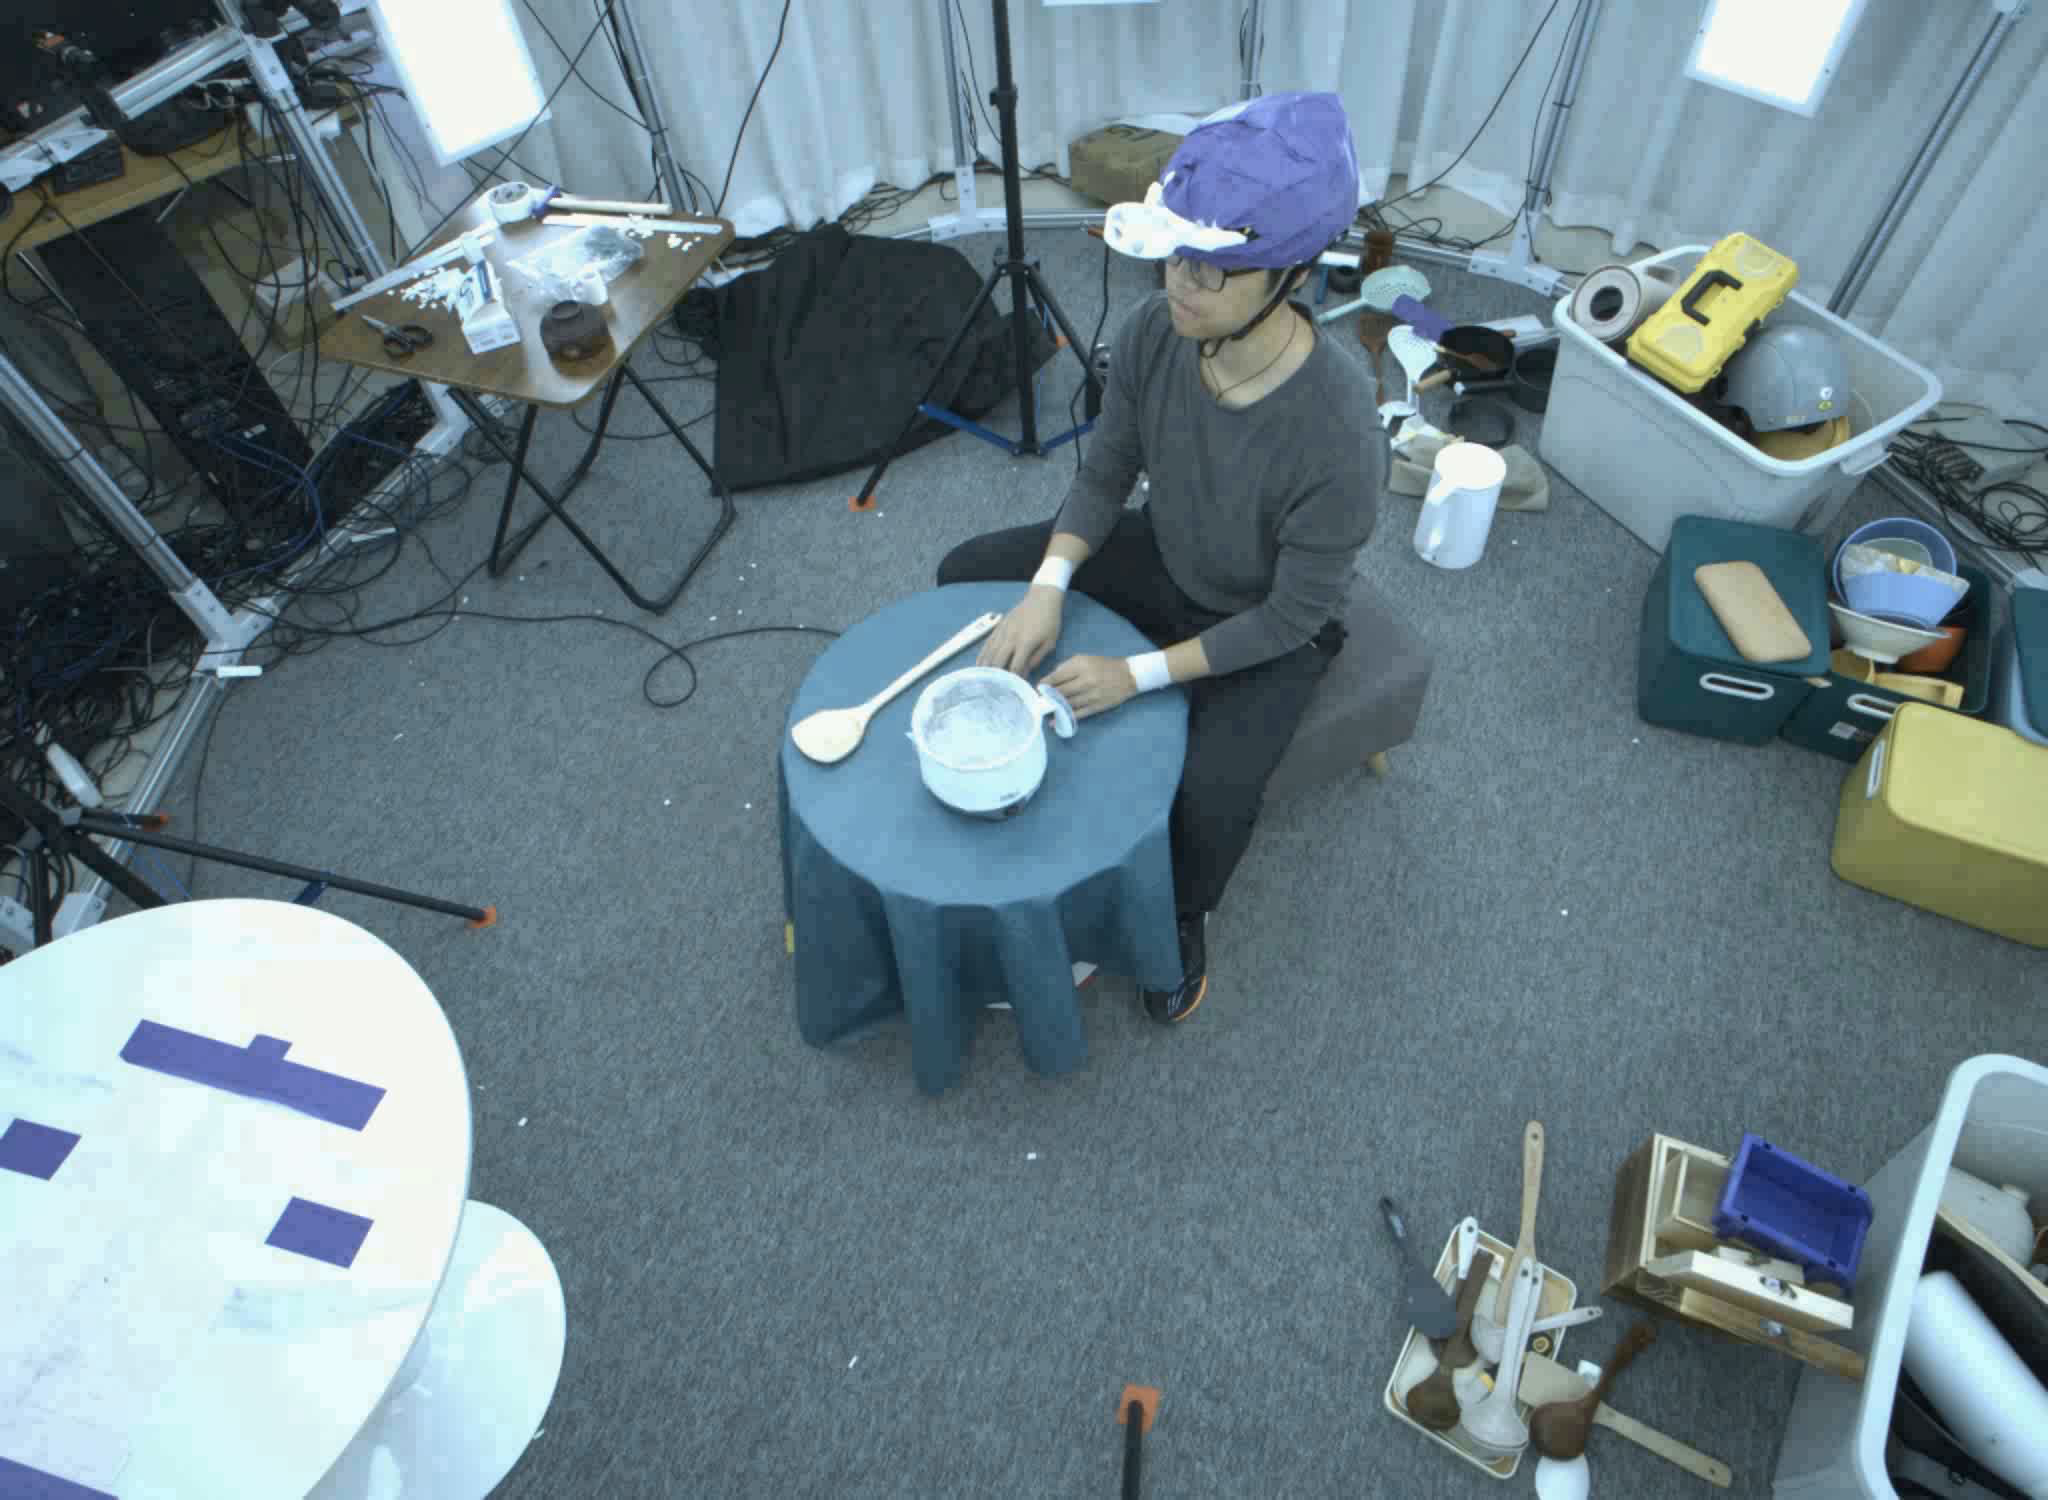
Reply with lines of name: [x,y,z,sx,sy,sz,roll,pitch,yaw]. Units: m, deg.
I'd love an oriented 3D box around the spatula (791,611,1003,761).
spatula: [-0.183,-0.110,1.867,0.393,0.018,0.094,-38,64,-23]

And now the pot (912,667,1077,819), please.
pot: [-0.035,-0.019,1.725,0.235,0.138,0.175,-25,57,-15]
